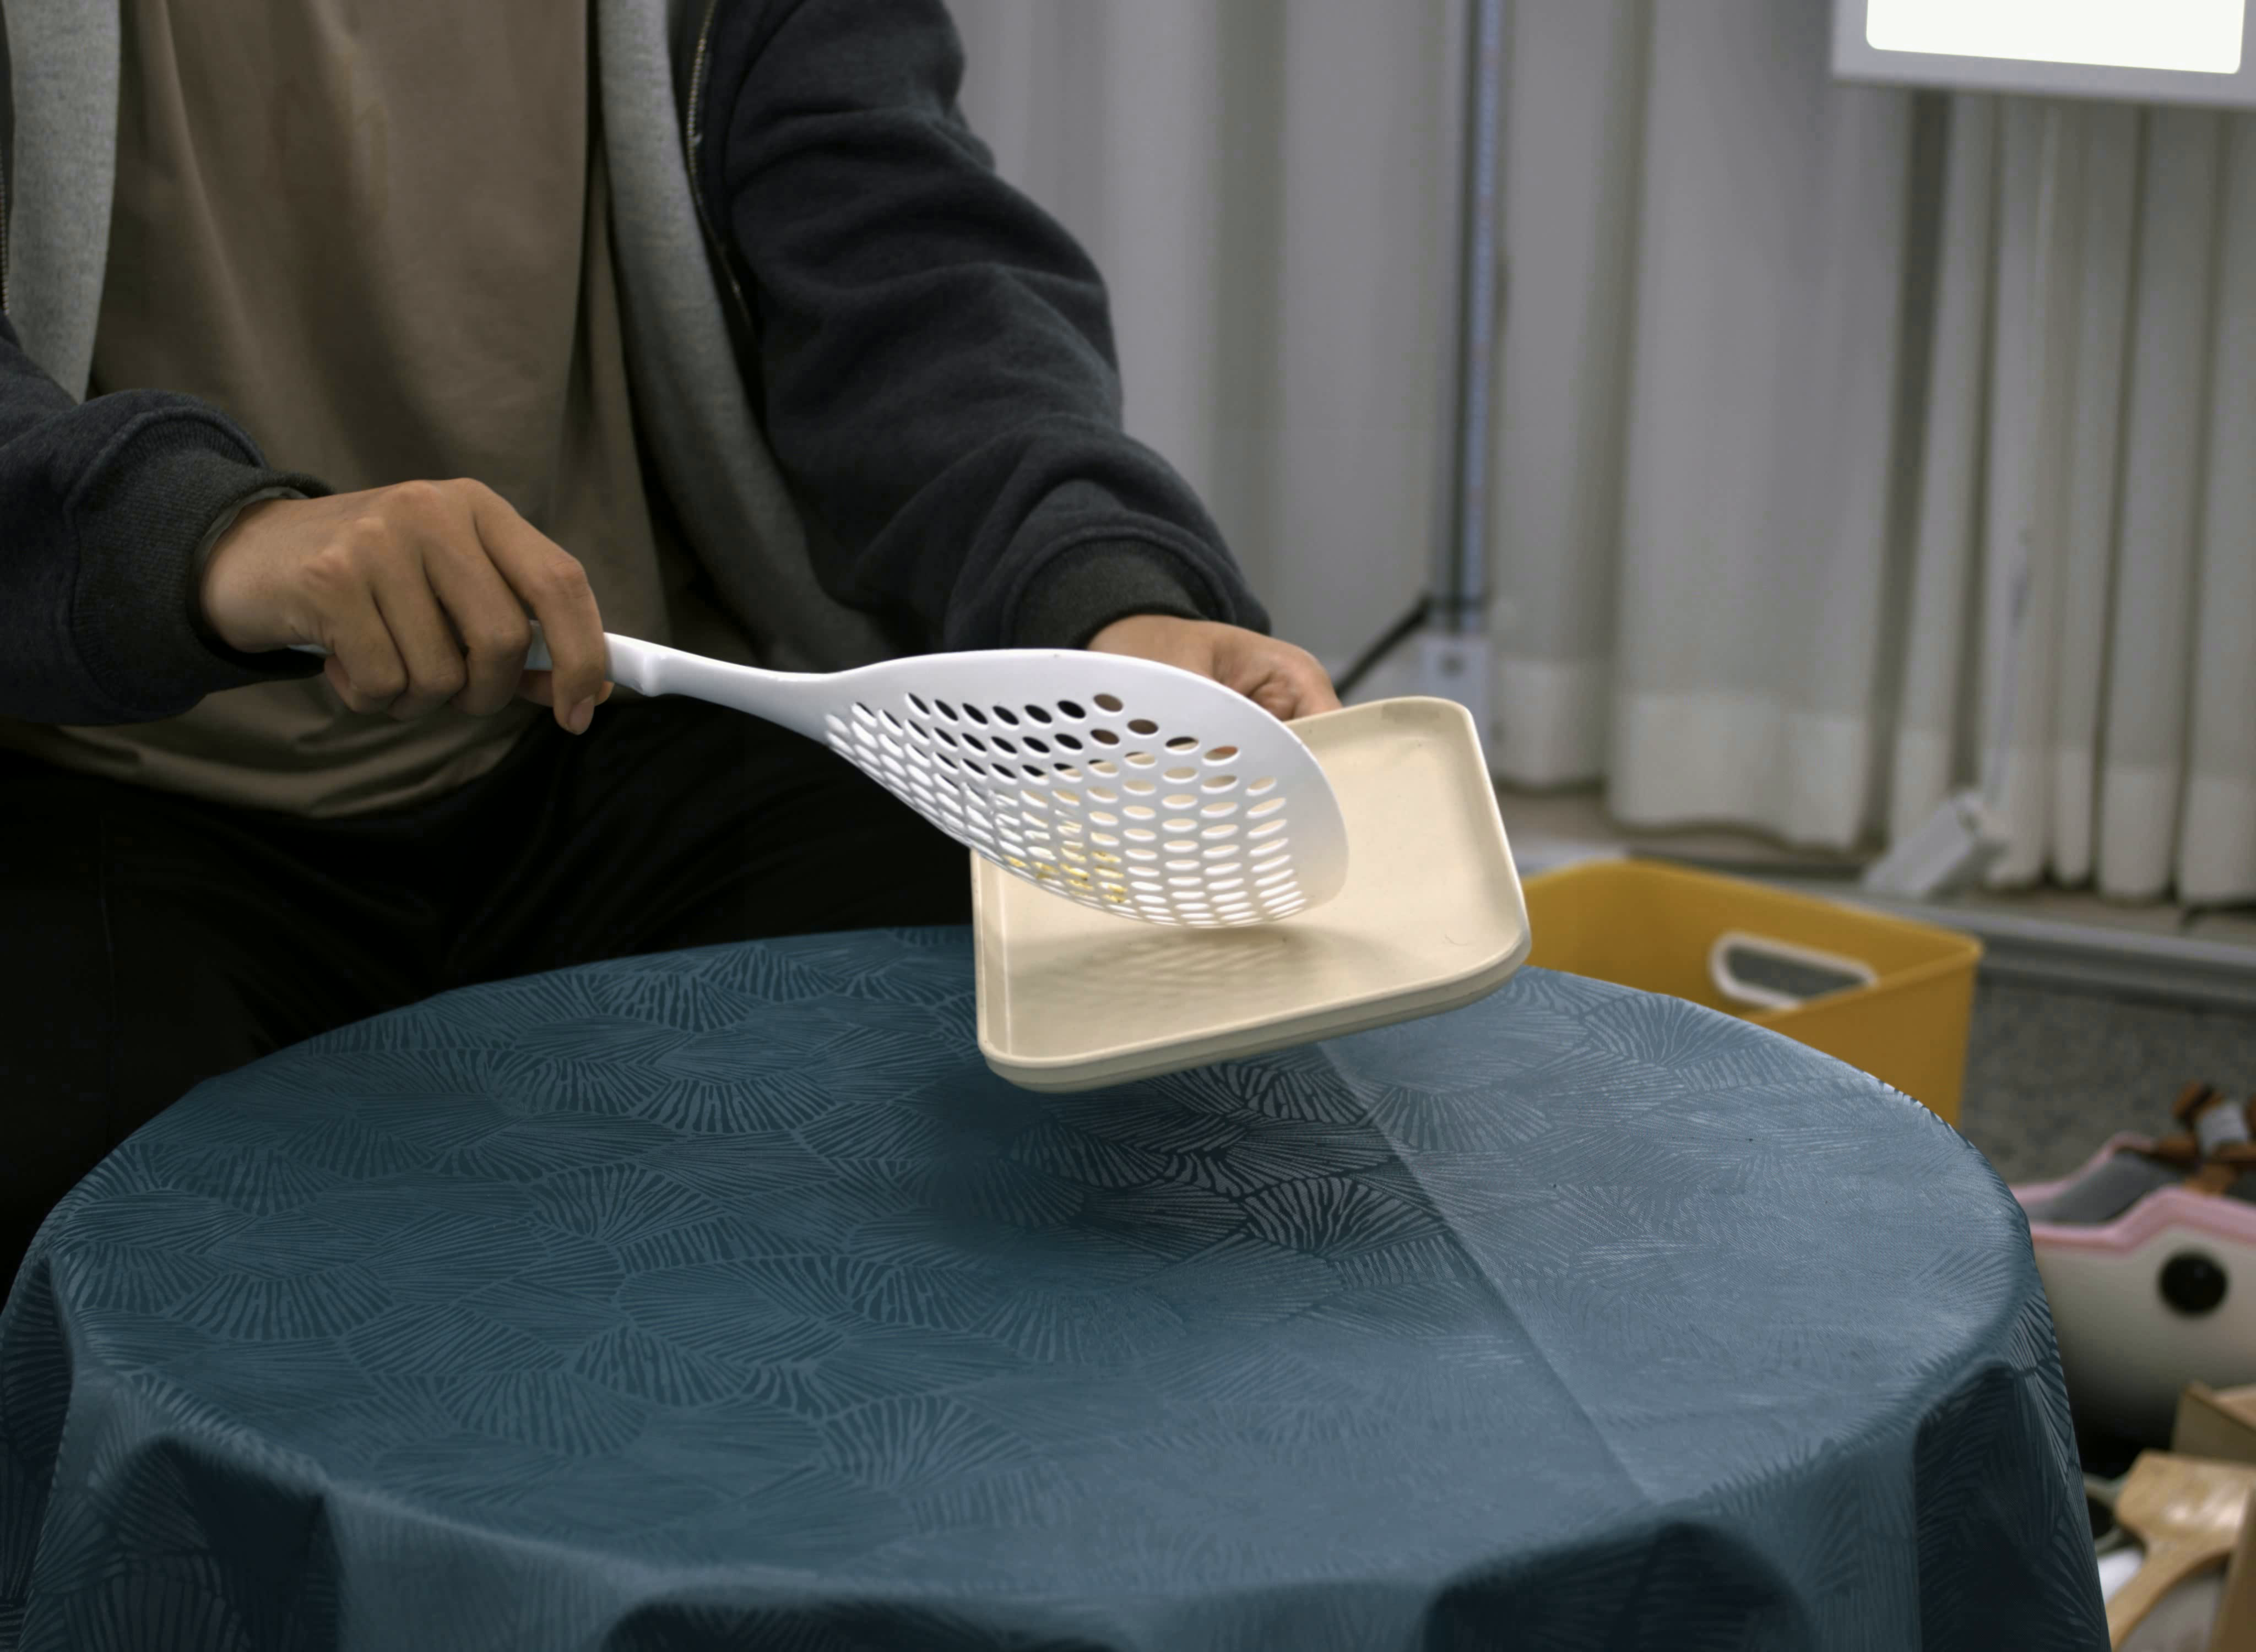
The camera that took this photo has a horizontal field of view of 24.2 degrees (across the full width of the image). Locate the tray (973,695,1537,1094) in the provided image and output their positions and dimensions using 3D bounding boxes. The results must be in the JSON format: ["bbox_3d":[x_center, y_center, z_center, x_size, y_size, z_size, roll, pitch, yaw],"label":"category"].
[{"bbox_3d":[0.037,0.020,1.650,0.170,0.017,0.238,-13,21,2],"label":"tray"}]

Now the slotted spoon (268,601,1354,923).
[{"bbox_3d":[-0.100,-0.031,1.611,0.345,0.138,0.050,17,63,16],"label":"slotted spoon"}]
